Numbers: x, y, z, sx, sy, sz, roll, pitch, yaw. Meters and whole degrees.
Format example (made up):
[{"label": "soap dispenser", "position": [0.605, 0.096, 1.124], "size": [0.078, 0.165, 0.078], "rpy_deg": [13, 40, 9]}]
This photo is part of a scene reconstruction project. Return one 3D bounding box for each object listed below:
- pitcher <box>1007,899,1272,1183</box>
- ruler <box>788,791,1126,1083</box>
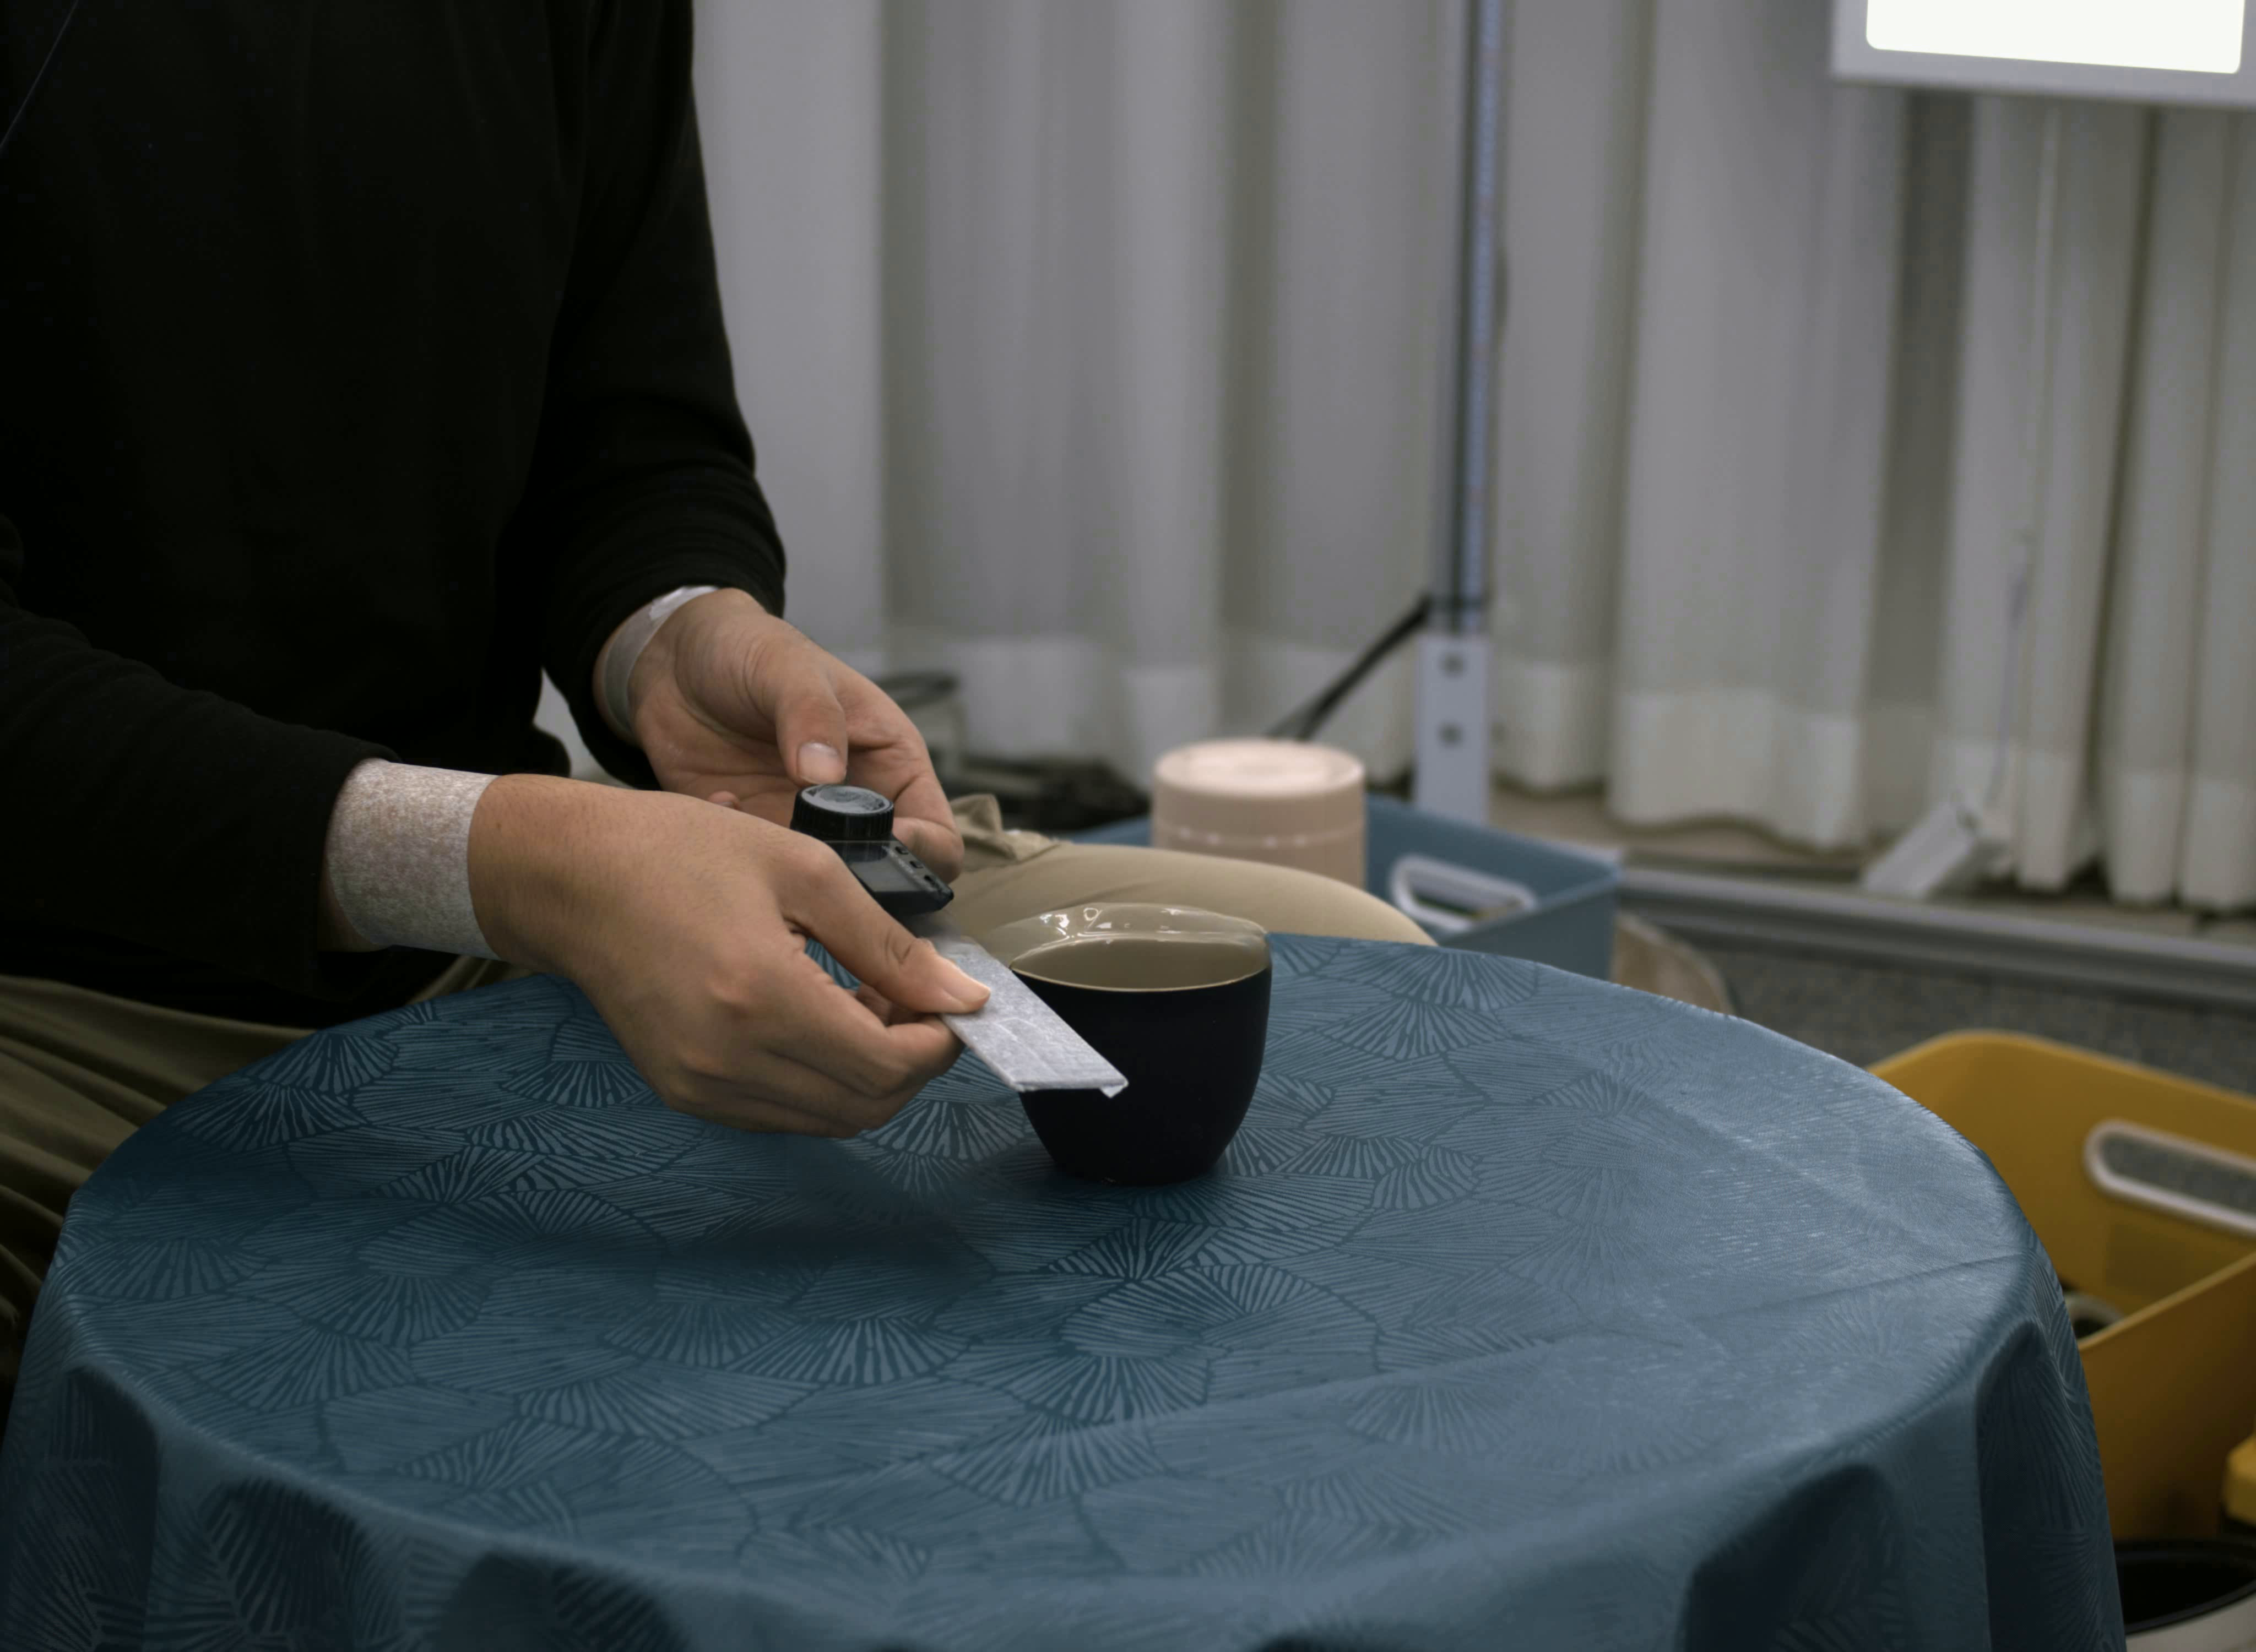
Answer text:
[{"label": "pitcher", "position": [0.000, 0.068, 1.642], "size": [0.084, 0.072, 0.095], "rpy_deg": [-9, 19, -28]}, {"label": "ruler", "position": [-0.057, 0.031, 1.602], "size": [0.038, 0.024, 0.215], "rpy_deg": [-6, 20, -21]}]
